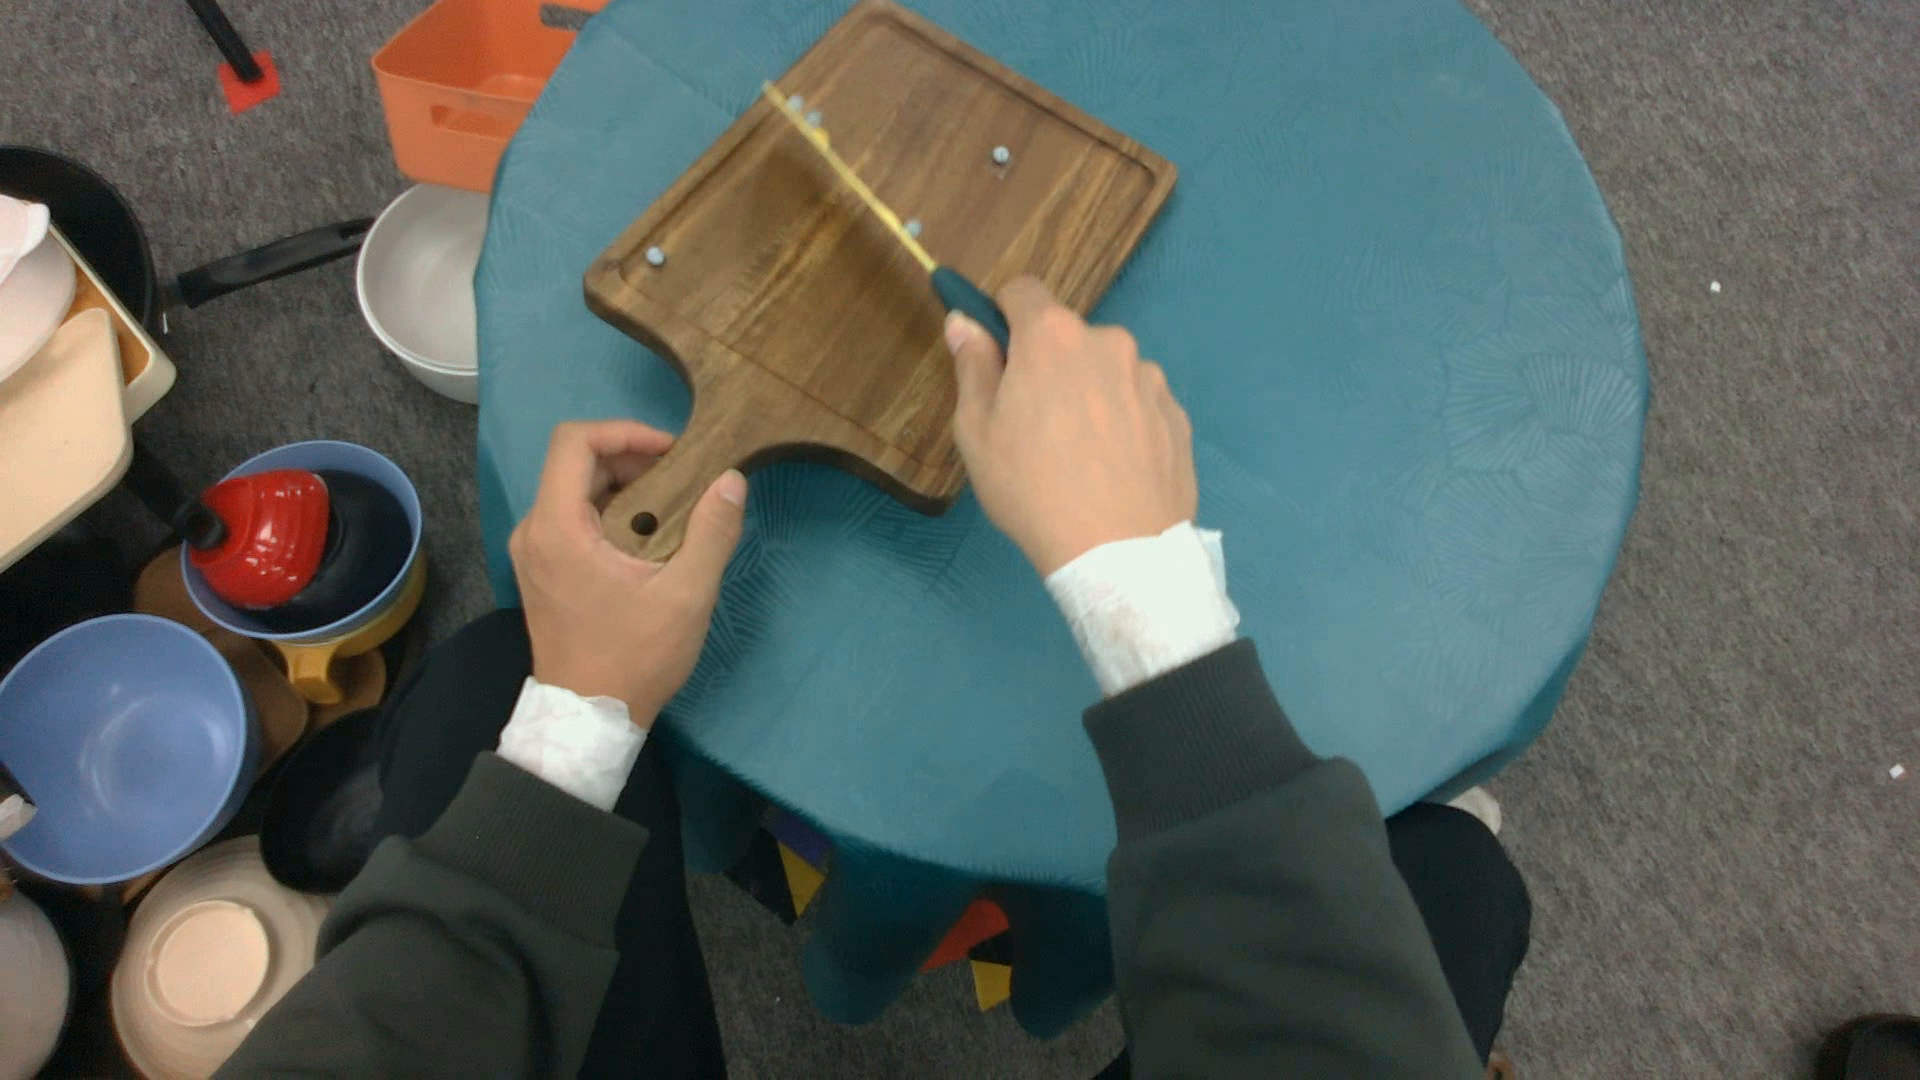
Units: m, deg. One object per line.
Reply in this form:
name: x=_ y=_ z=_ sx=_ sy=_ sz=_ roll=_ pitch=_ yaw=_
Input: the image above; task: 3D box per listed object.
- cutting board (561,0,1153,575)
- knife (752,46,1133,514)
cutting board: x=-0.063 y=-0.122 z=0.648 sx=0.201 sy=0.023 sz=0.354 roll=30 pitch=60 yaw=5
knife: x=-0.015 y=-0.121 z=0.601 sx=0.027 sy=0.081 sz=0.290 roll=-39 pitch=69 yaw=8
